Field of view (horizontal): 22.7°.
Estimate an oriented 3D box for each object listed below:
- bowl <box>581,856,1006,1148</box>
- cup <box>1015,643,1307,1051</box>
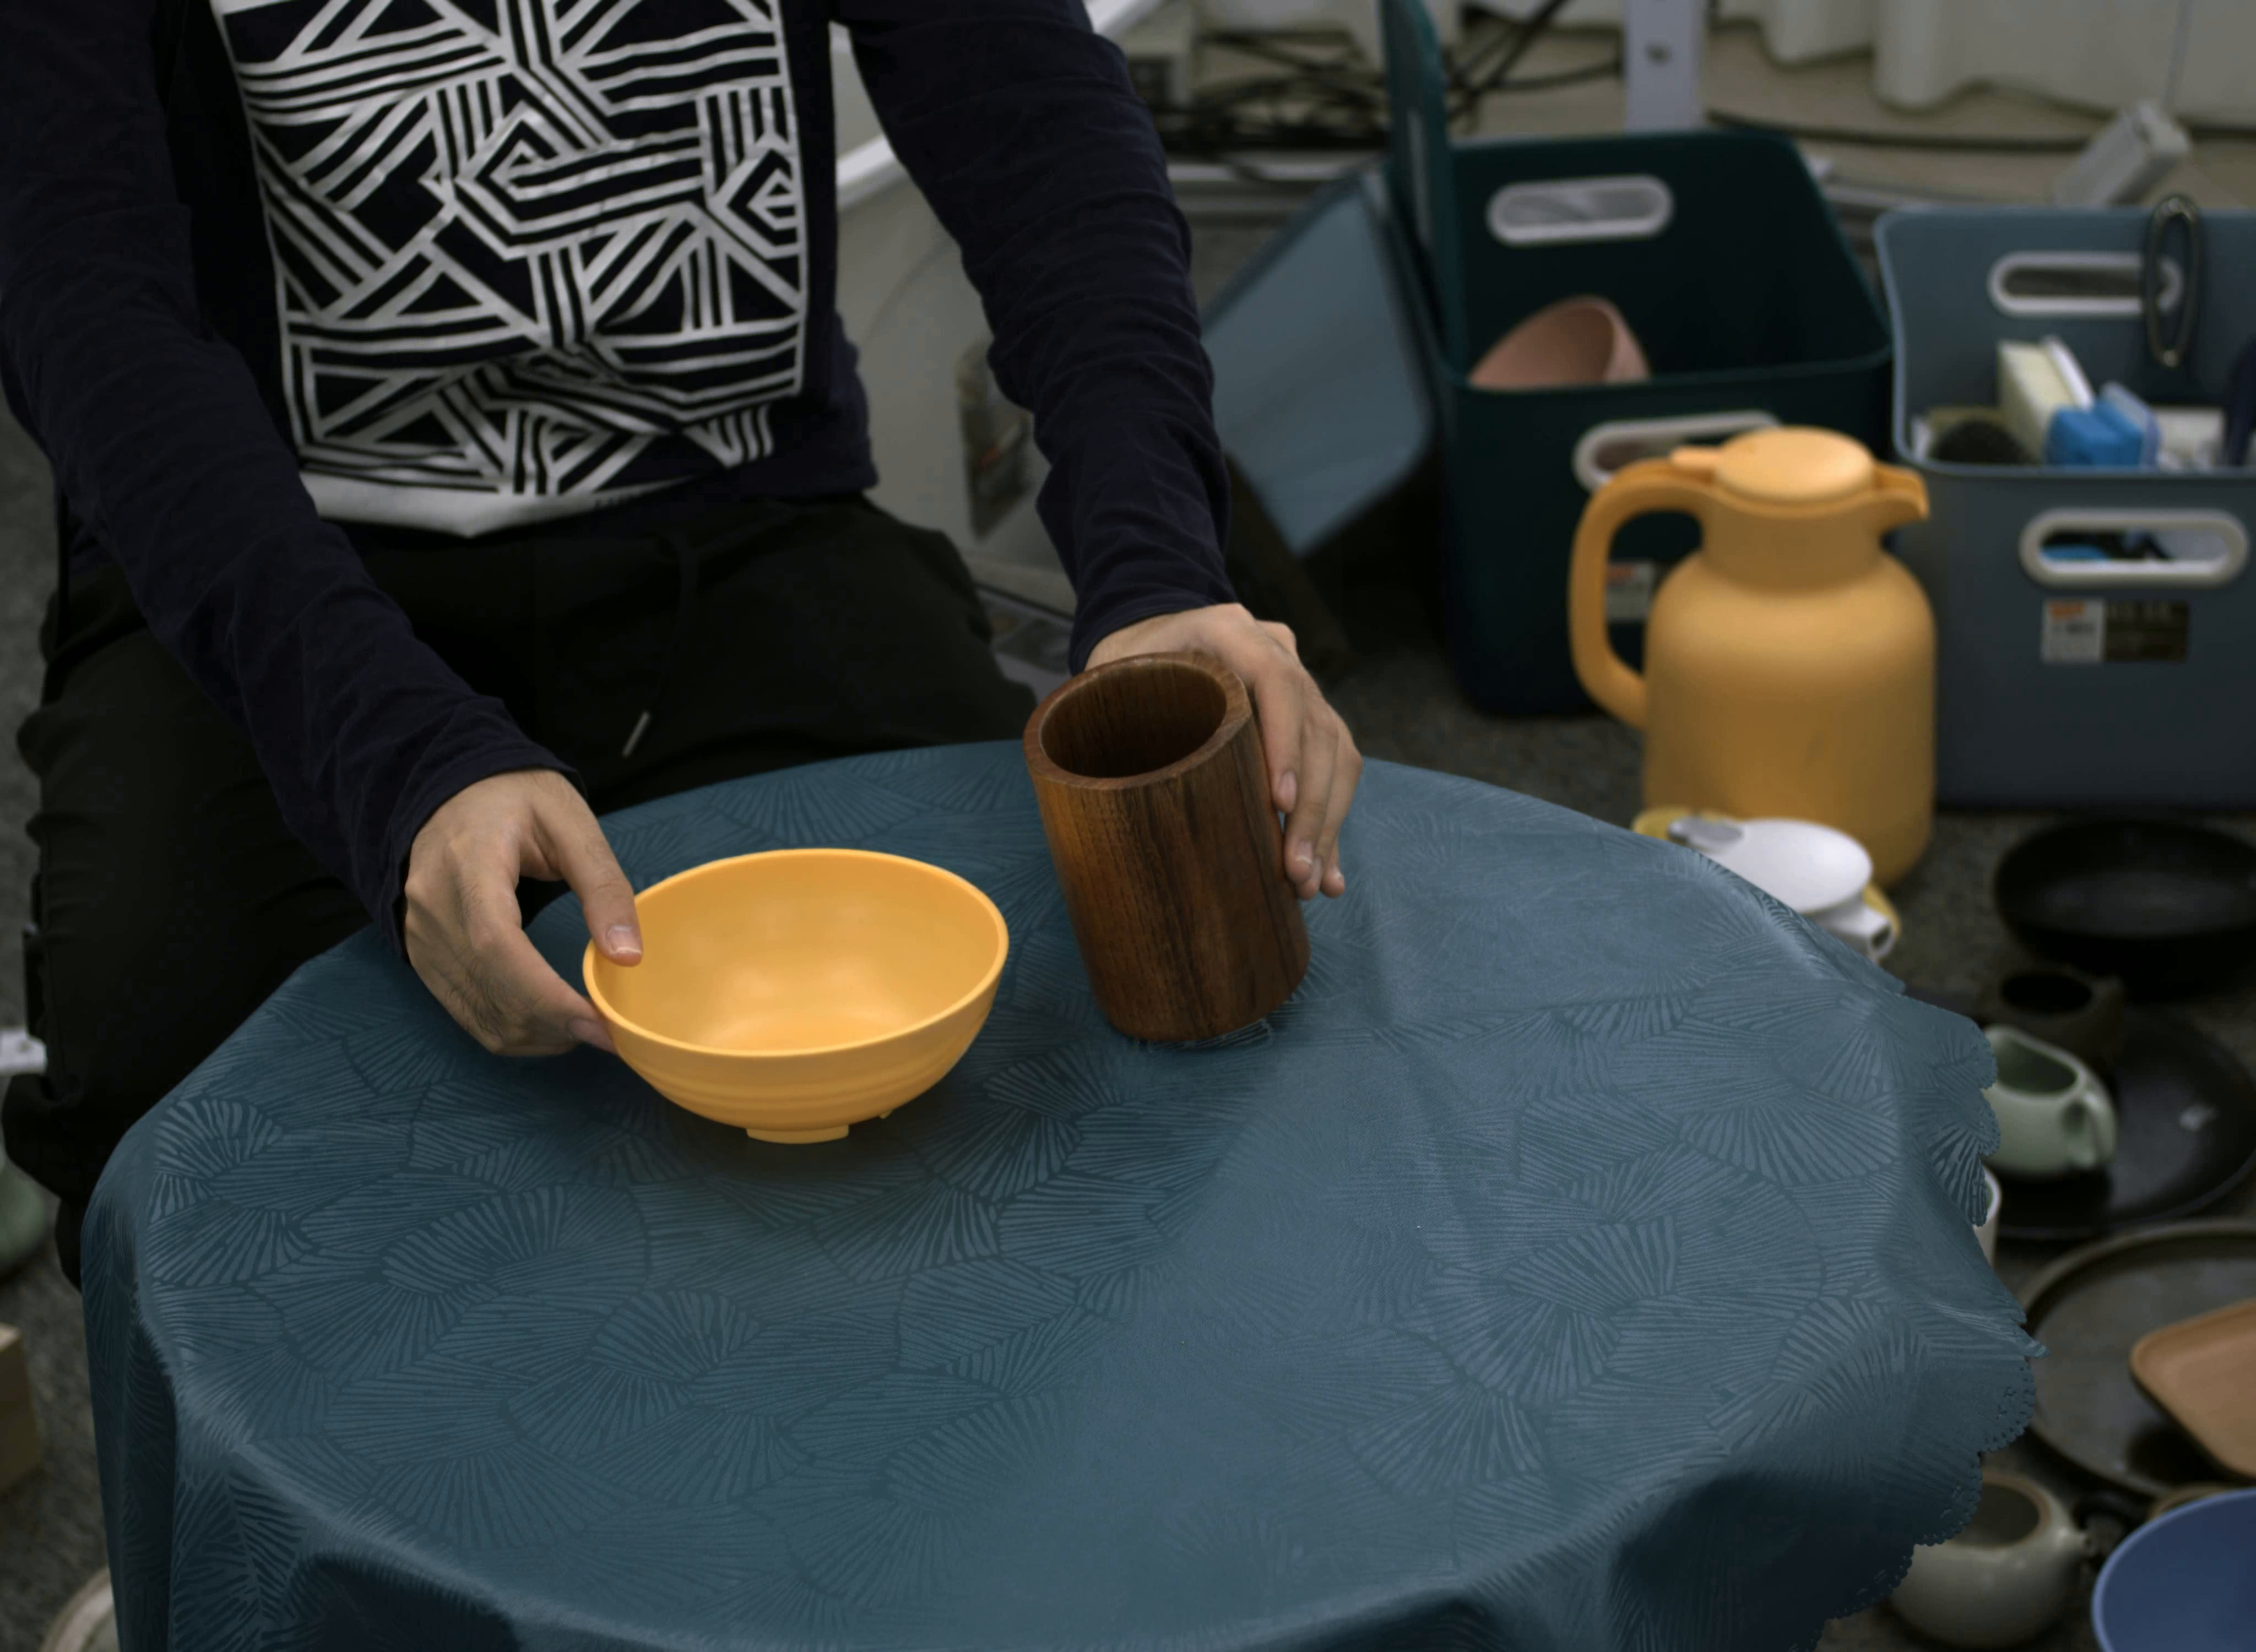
[{"bbox_3d":[-0.112,0.068,1.911,0.144,0.059,0.147,-1,26,1],"label":"bowl"},{"bbox_3d":[0.011,0.007,1.934,0.087,0.117,0.089,-9,32,6],"label":"cup"}]
